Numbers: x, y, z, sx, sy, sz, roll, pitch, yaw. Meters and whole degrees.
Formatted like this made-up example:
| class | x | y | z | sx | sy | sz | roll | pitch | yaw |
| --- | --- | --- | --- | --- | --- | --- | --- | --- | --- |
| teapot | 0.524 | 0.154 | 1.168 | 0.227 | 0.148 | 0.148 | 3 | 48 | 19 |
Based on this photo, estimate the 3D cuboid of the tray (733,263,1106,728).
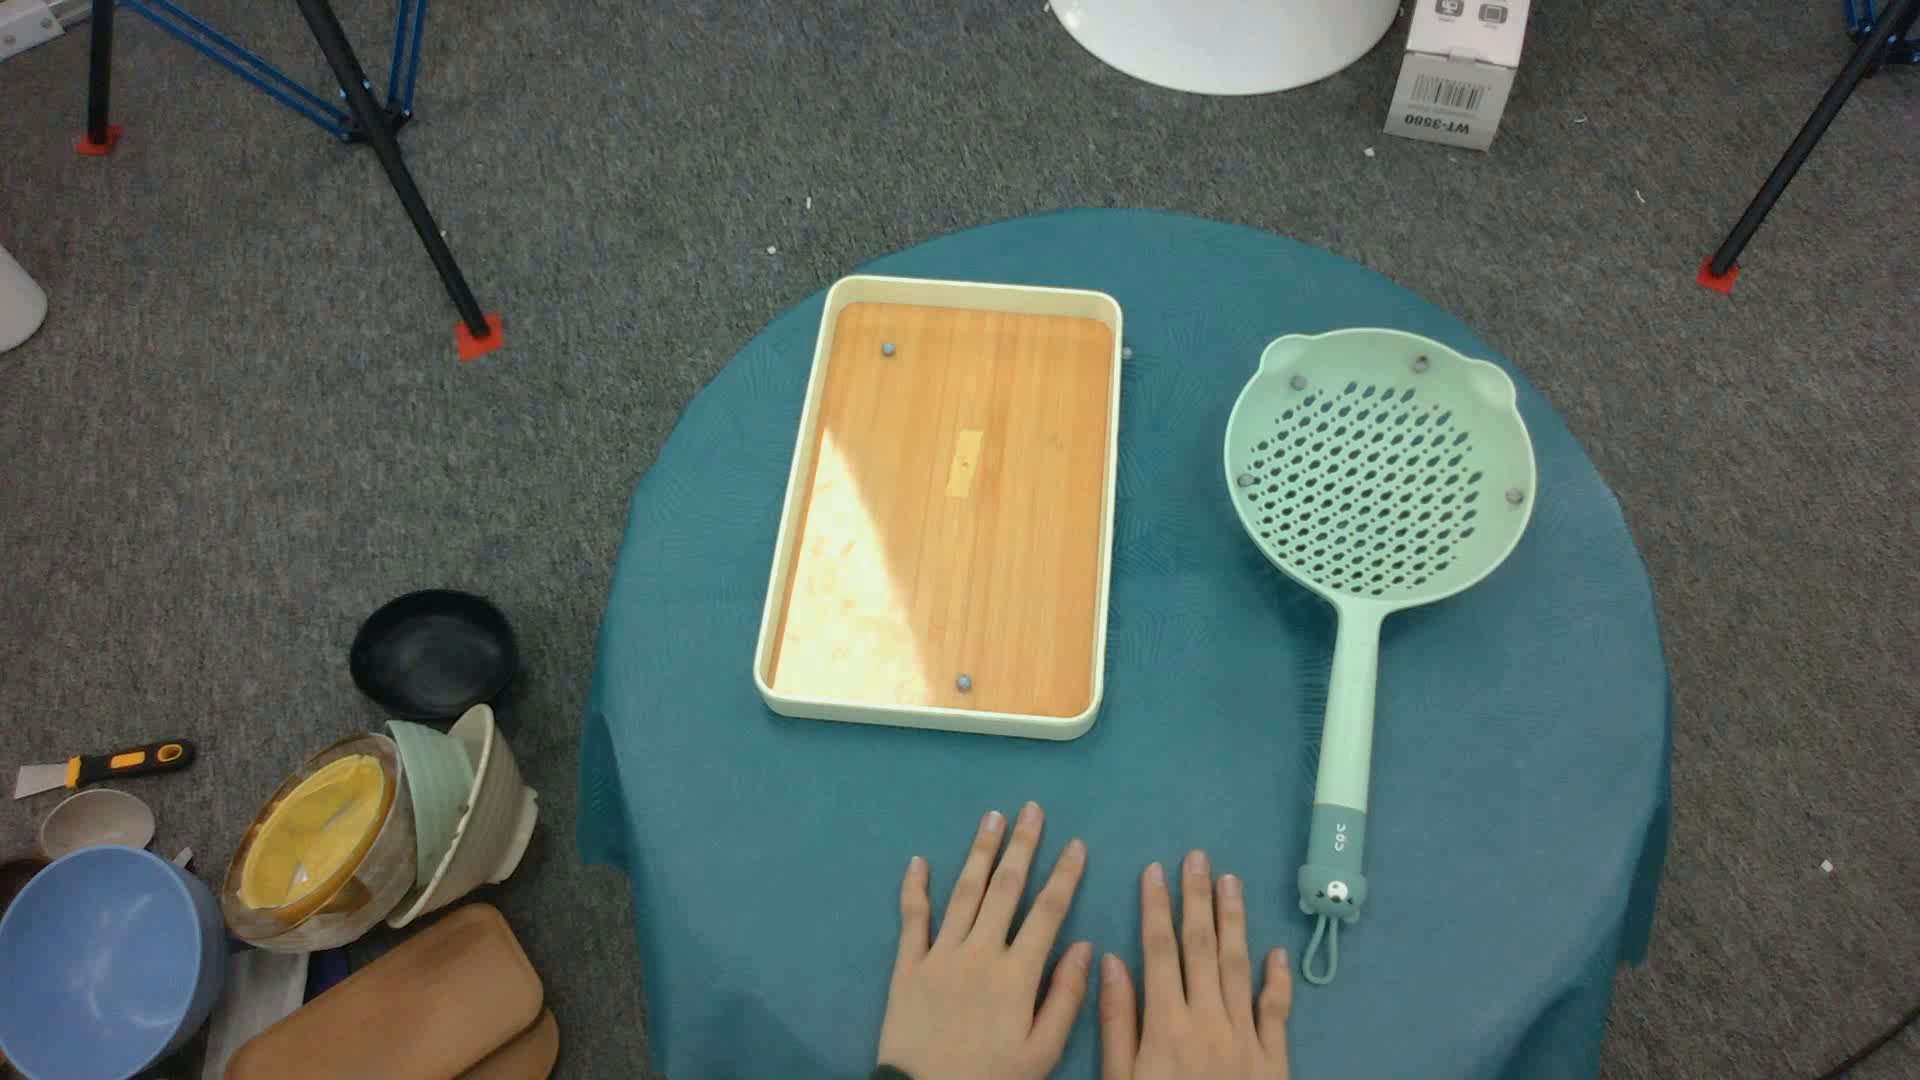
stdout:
| class | x | y | z | sx | sy | sz | roll | pitch | yaw |
| --- | --- | --- | --- | --- | --- | --- | --- | --- | --- |
| tray | -0.015 | -0.038 | 0.815 | 0.191 | 0.027 | 0.301 | 5 | 59 | 3 |

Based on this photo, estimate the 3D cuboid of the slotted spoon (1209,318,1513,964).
| class | x | y | z | sx | sy | sz | roll | pitch | yaw |
| --- | --- | --- | --- | --- | --- | --- | --- | --- | --- |
| slotted spoon | 0.205 | 0.042 | 0.745 | 0.169 | 0.075 | 0.360 | 10 | 60 | 7 |
